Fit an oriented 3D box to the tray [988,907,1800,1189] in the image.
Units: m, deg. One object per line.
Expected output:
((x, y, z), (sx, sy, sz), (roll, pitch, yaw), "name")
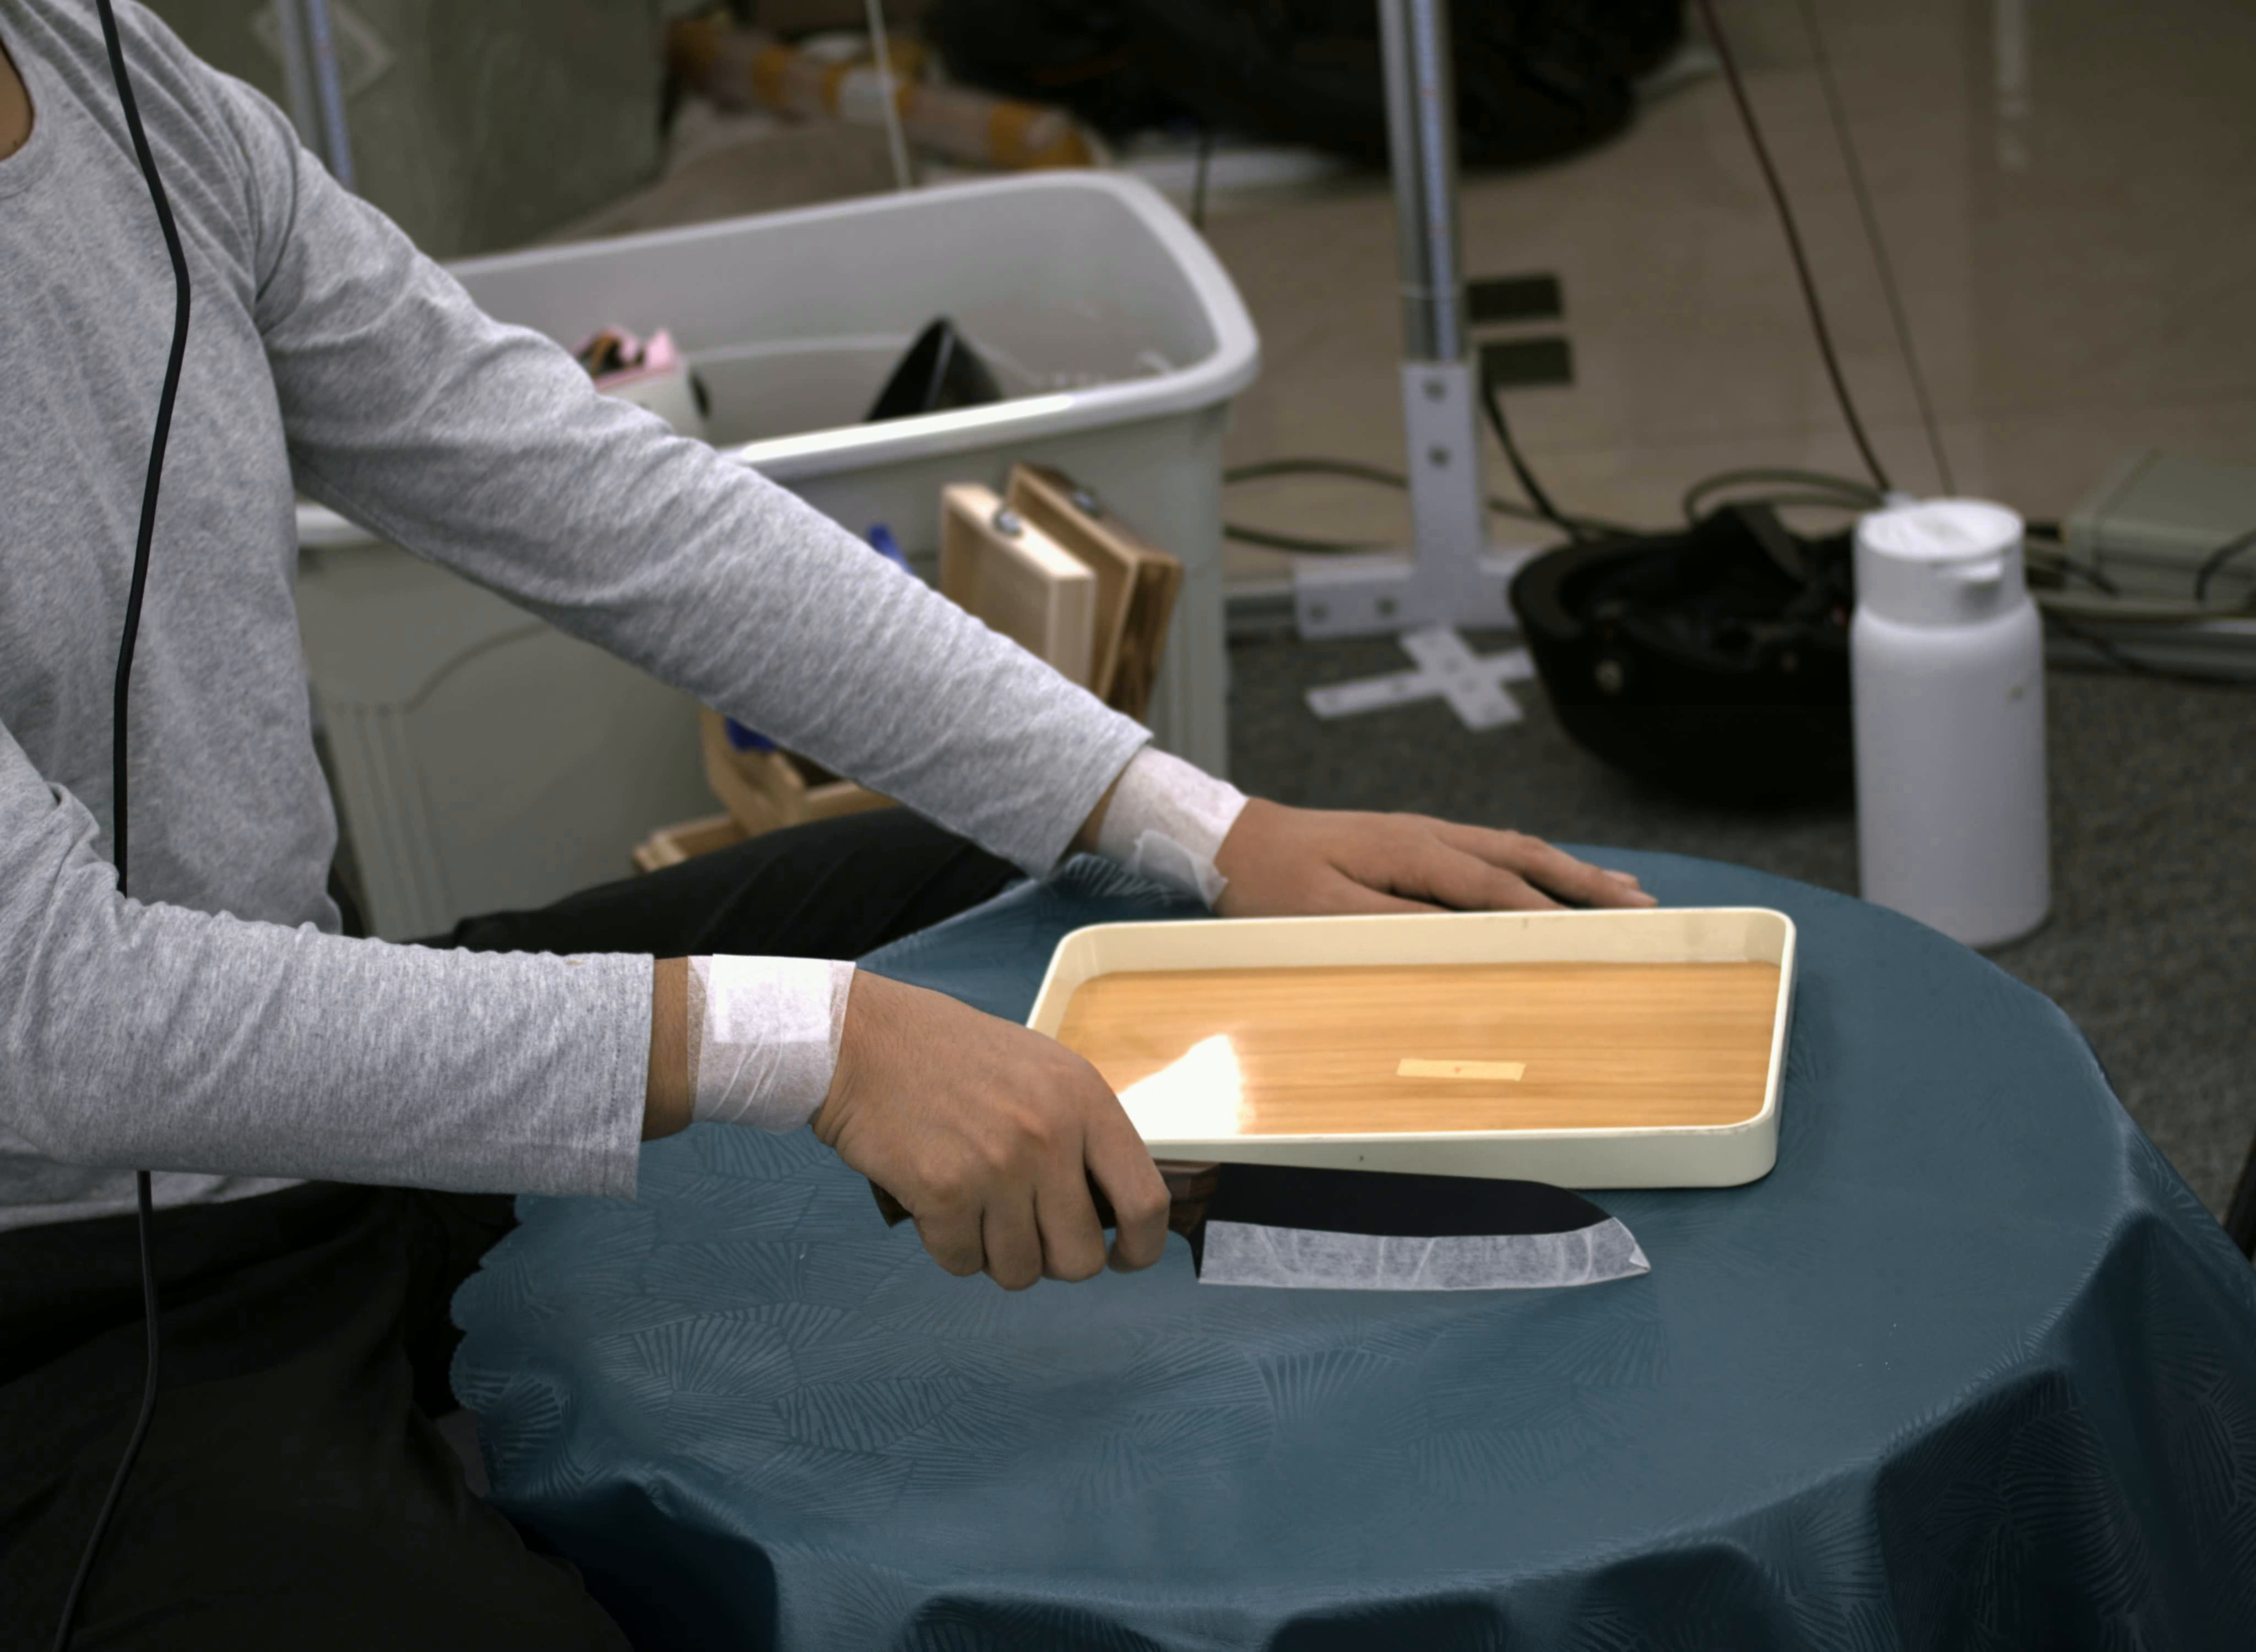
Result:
((0.106, 0.087, 2.206), (0.300, 0.028, 0.189), (-2, 25, 11), "tray")

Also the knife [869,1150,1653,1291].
((0.049, 0.141, 2.025), (0.289, 0.050, 0.020), (5, 8, -11), "knife")
